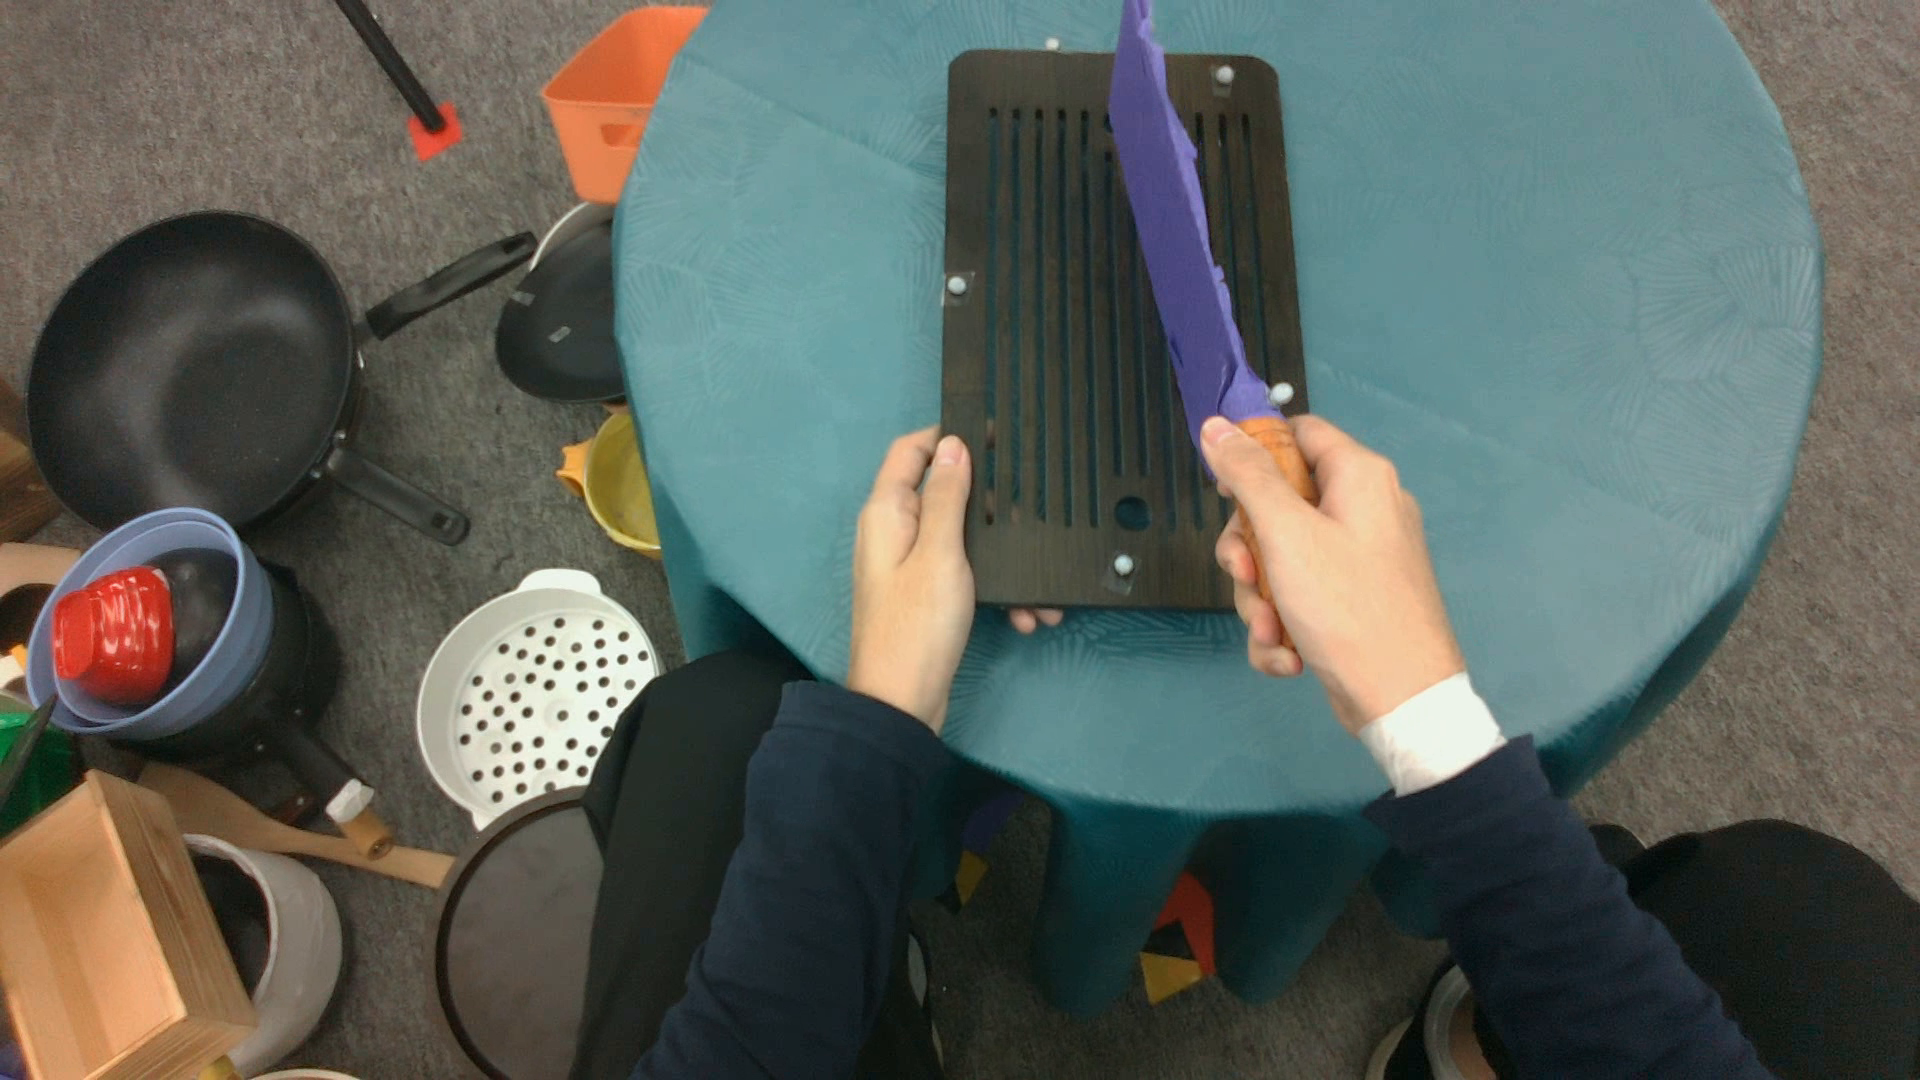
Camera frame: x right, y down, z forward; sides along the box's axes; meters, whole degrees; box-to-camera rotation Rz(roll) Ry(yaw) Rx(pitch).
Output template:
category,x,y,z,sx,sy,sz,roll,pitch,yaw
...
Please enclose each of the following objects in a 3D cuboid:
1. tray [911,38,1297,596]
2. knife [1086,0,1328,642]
category,x,y,z,sx,sy,sz,roll,pitch,yaw
tray,0.063,-0.116,0.659,0.170,0.018,0.307,1,66,-2
knife,0.097,-0.098,0.592,0.032,0.103,0.316,-8,68,-3
